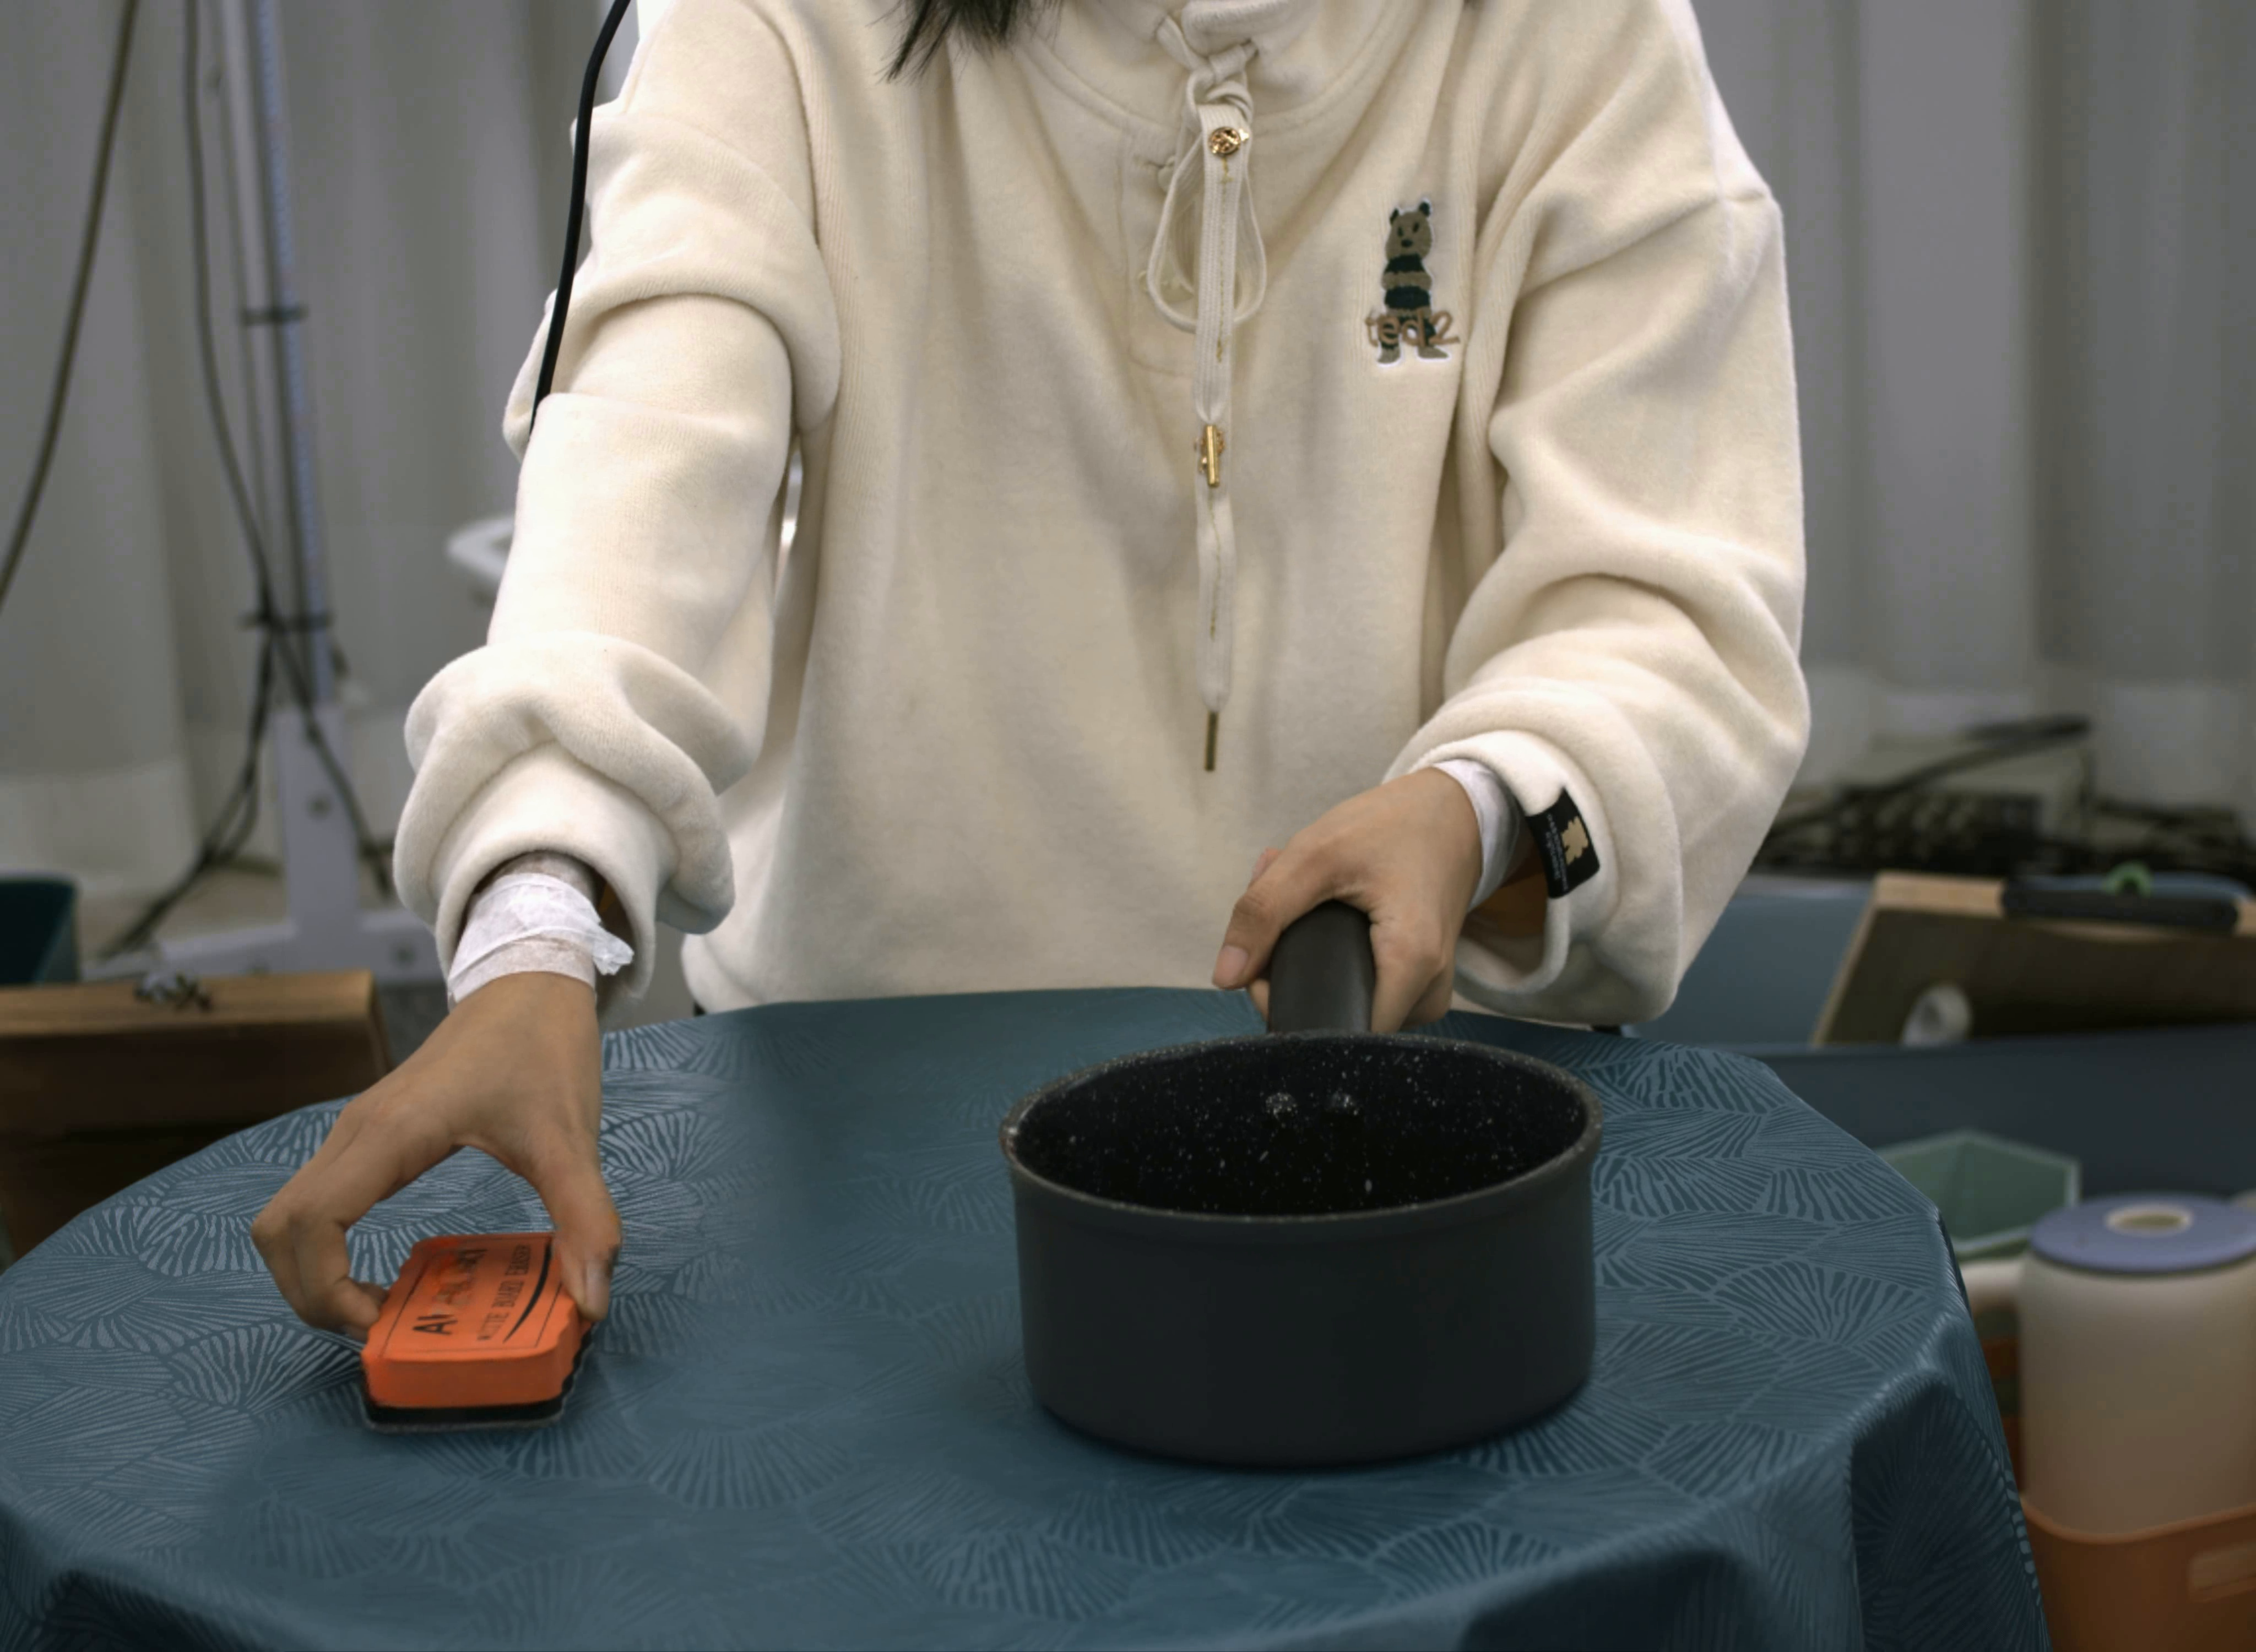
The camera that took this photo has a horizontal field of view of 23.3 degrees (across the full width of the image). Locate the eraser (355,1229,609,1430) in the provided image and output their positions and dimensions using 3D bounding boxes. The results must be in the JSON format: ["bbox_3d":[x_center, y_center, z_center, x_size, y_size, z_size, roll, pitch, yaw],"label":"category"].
[{"bbox_3d":[-0.186,0.146,1.588,0.059,0.023,0.109,-2,15,4],"label":"eraser"}]

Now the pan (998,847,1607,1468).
[{"bbox_3d":[0.059,0.094,1.618,0.171,0.086,0.331,-1,16,7],"label":"pan"}]
